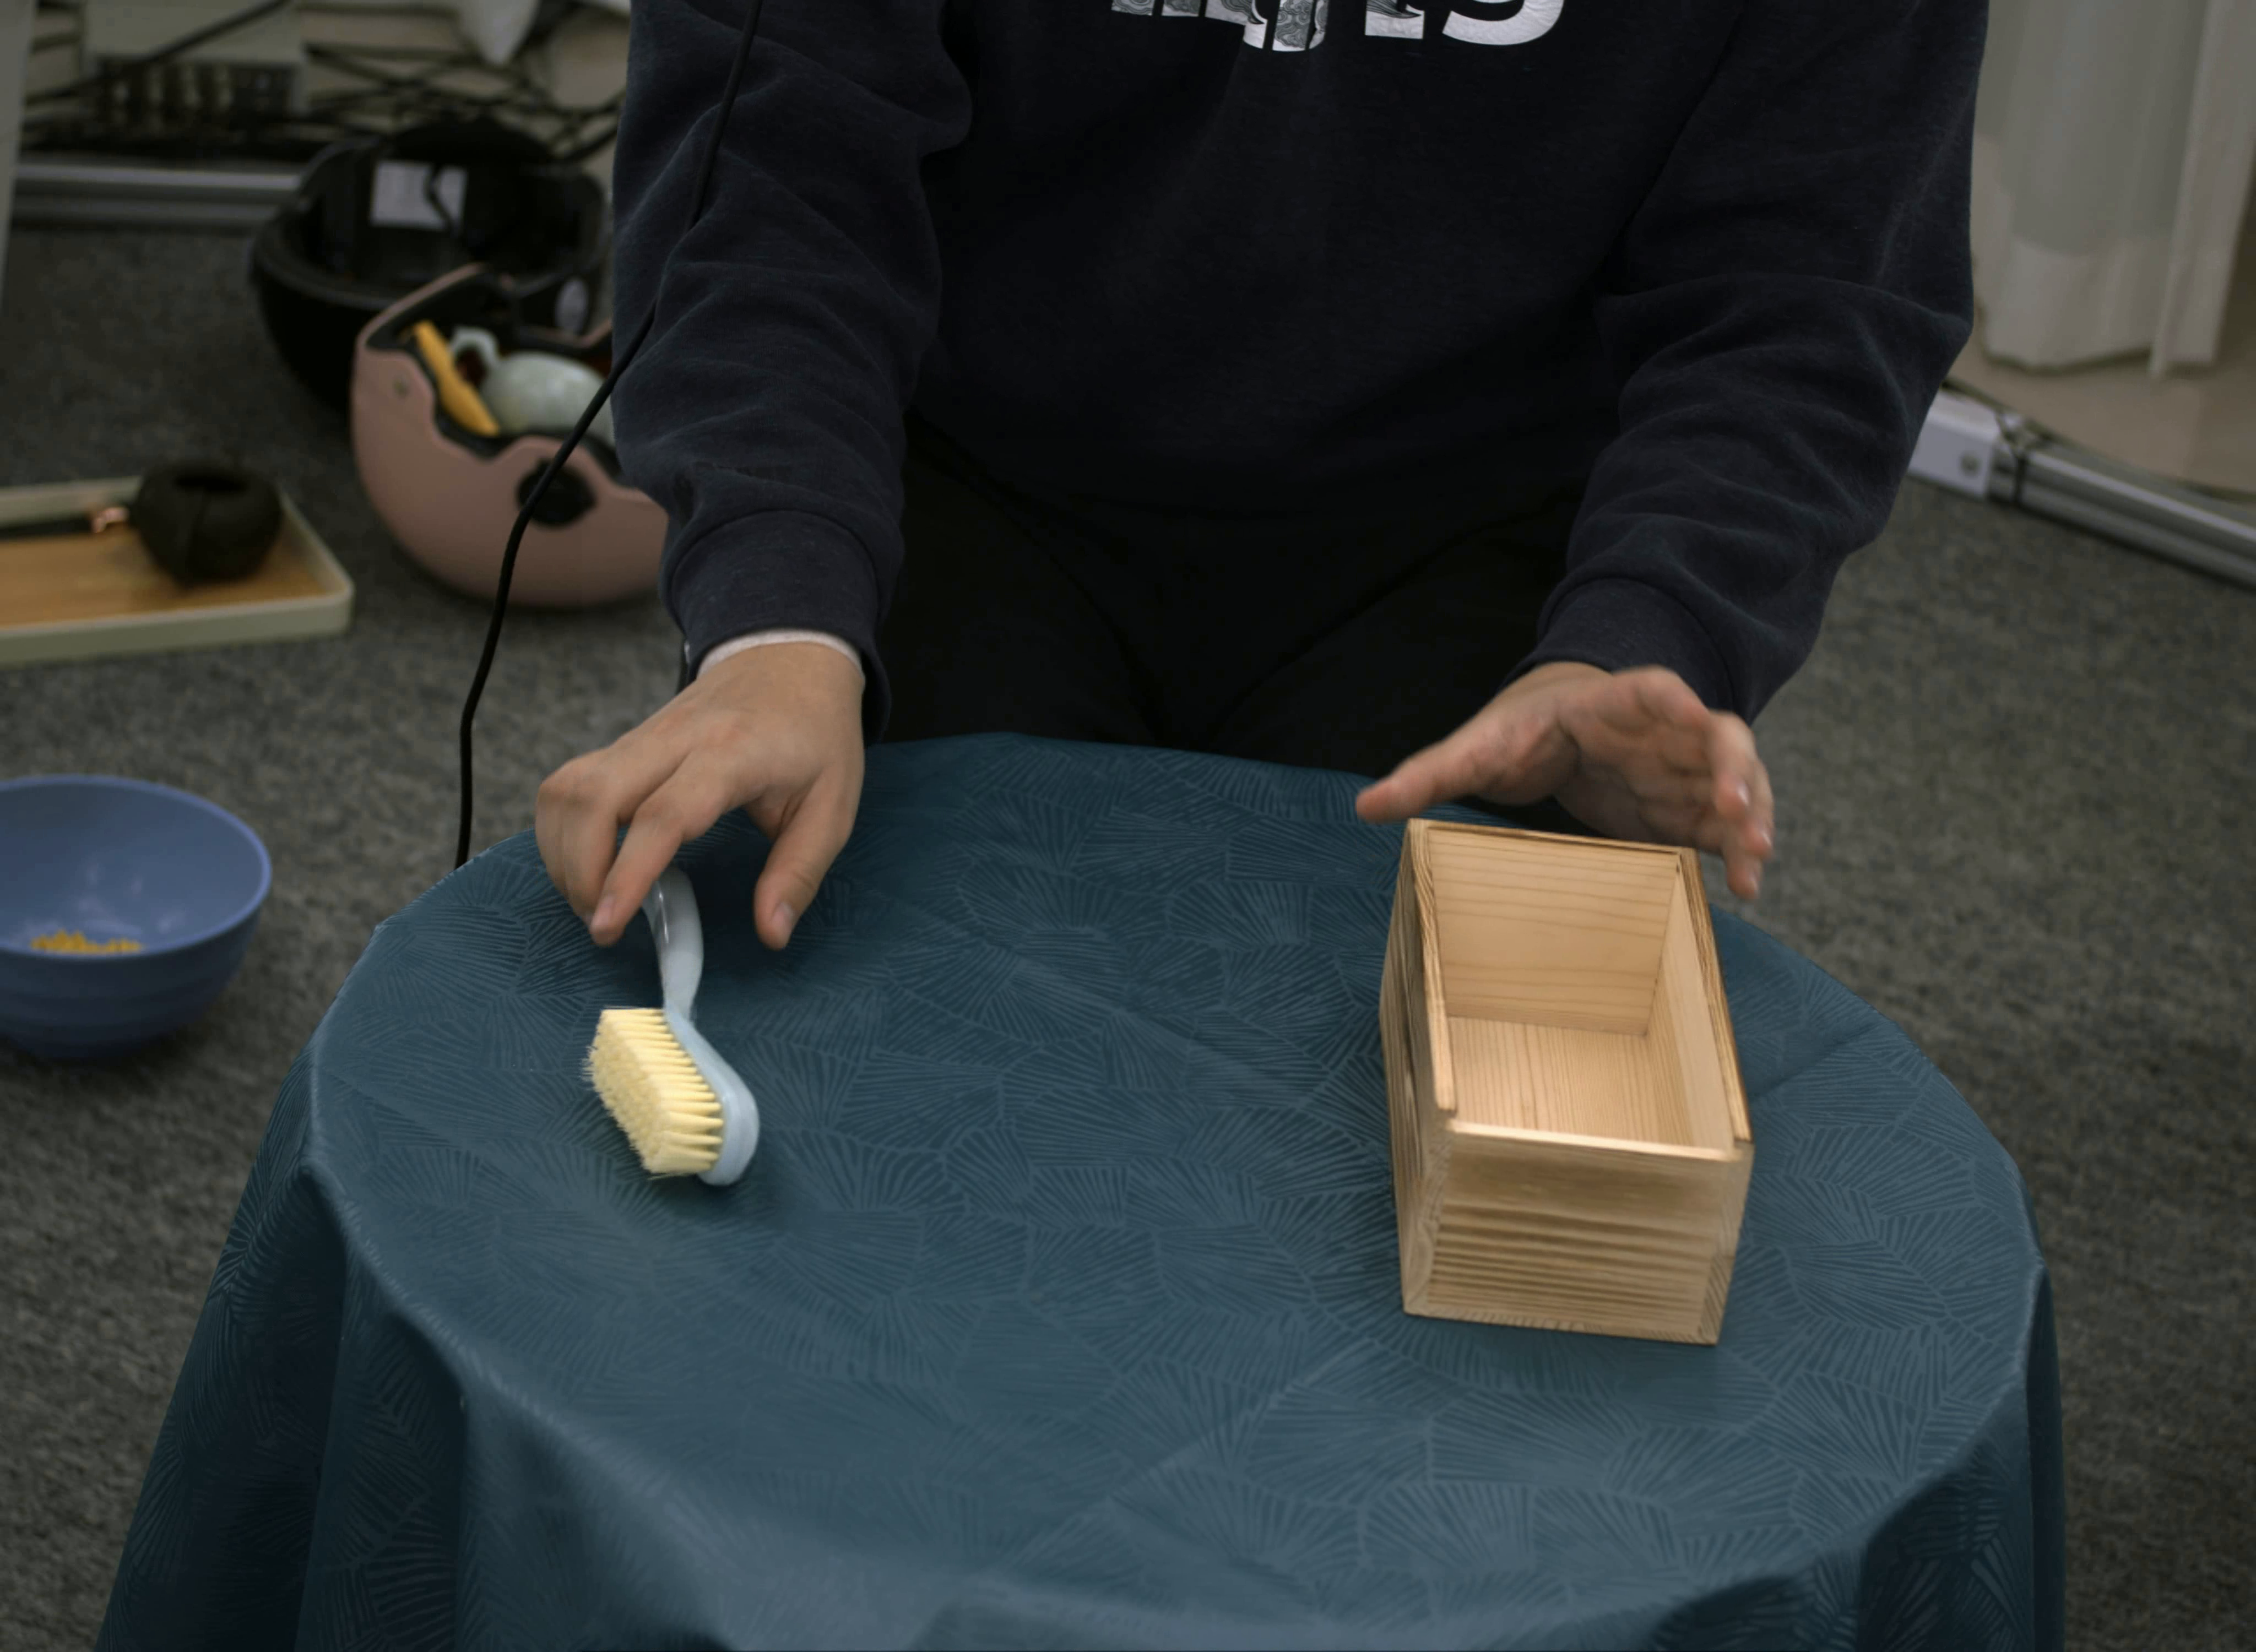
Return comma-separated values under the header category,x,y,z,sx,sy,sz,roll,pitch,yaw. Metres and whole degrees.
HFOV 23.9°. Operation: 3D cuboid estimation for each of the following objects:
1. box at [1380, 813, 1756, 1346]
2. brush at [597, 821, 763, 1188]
category,x,y,z,sx,sy,sz,roll,pitch,yaw
box,0.147,0.084,1.831,0.107,0.080,0.213,6,27,-3
brush,-0.166,0.057,1.857,0.049,0.037,0.230,6,26,-15
